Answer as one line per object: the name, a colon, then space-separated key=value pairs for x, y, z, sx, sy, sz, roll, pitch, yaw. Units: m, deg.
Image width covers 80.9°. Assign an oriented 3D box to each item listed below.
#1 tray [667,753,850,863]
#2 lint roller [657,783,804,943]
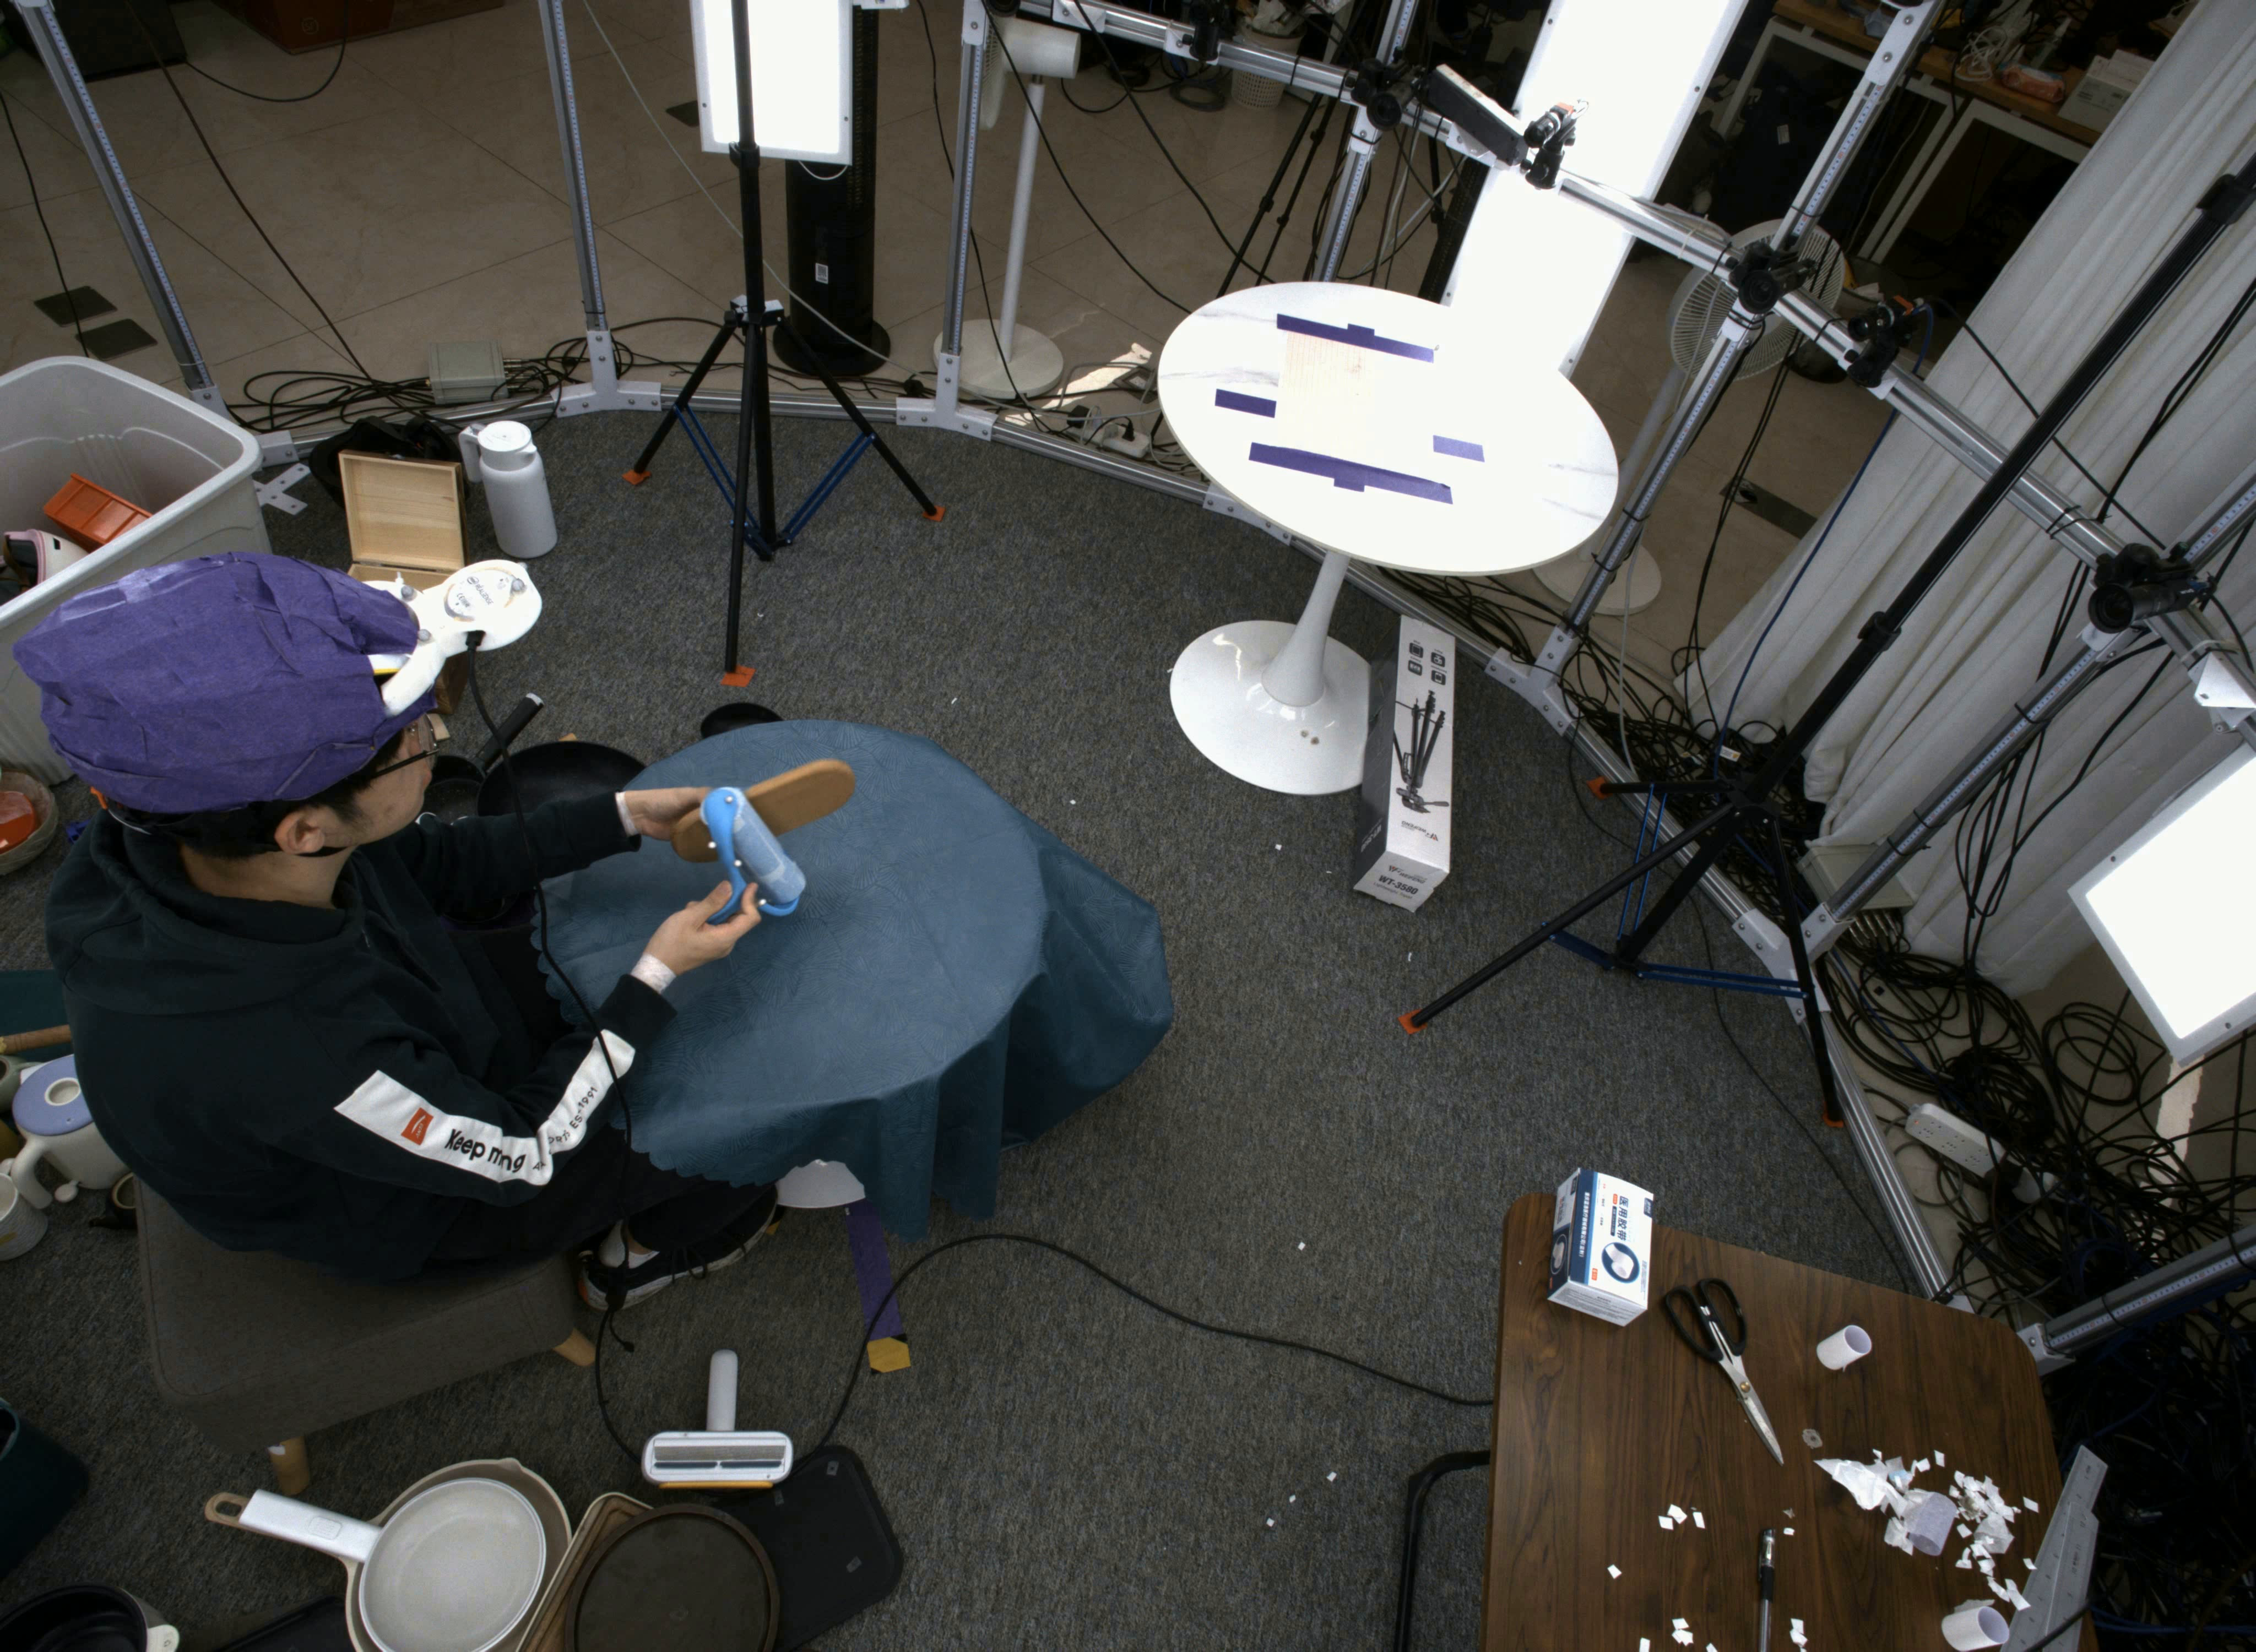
tray: x=-0.441 y=-0.022 z=1.554 sx=0.231 sy=0.104 sz=0.020 roll=-26 pitch=60 yaw=-19
lint roller: x=-0.475 y=0.070 z=1.518 sx=0.066 sy=0.236 sz=0.180 roll=24 pitch=70 yaw=21
